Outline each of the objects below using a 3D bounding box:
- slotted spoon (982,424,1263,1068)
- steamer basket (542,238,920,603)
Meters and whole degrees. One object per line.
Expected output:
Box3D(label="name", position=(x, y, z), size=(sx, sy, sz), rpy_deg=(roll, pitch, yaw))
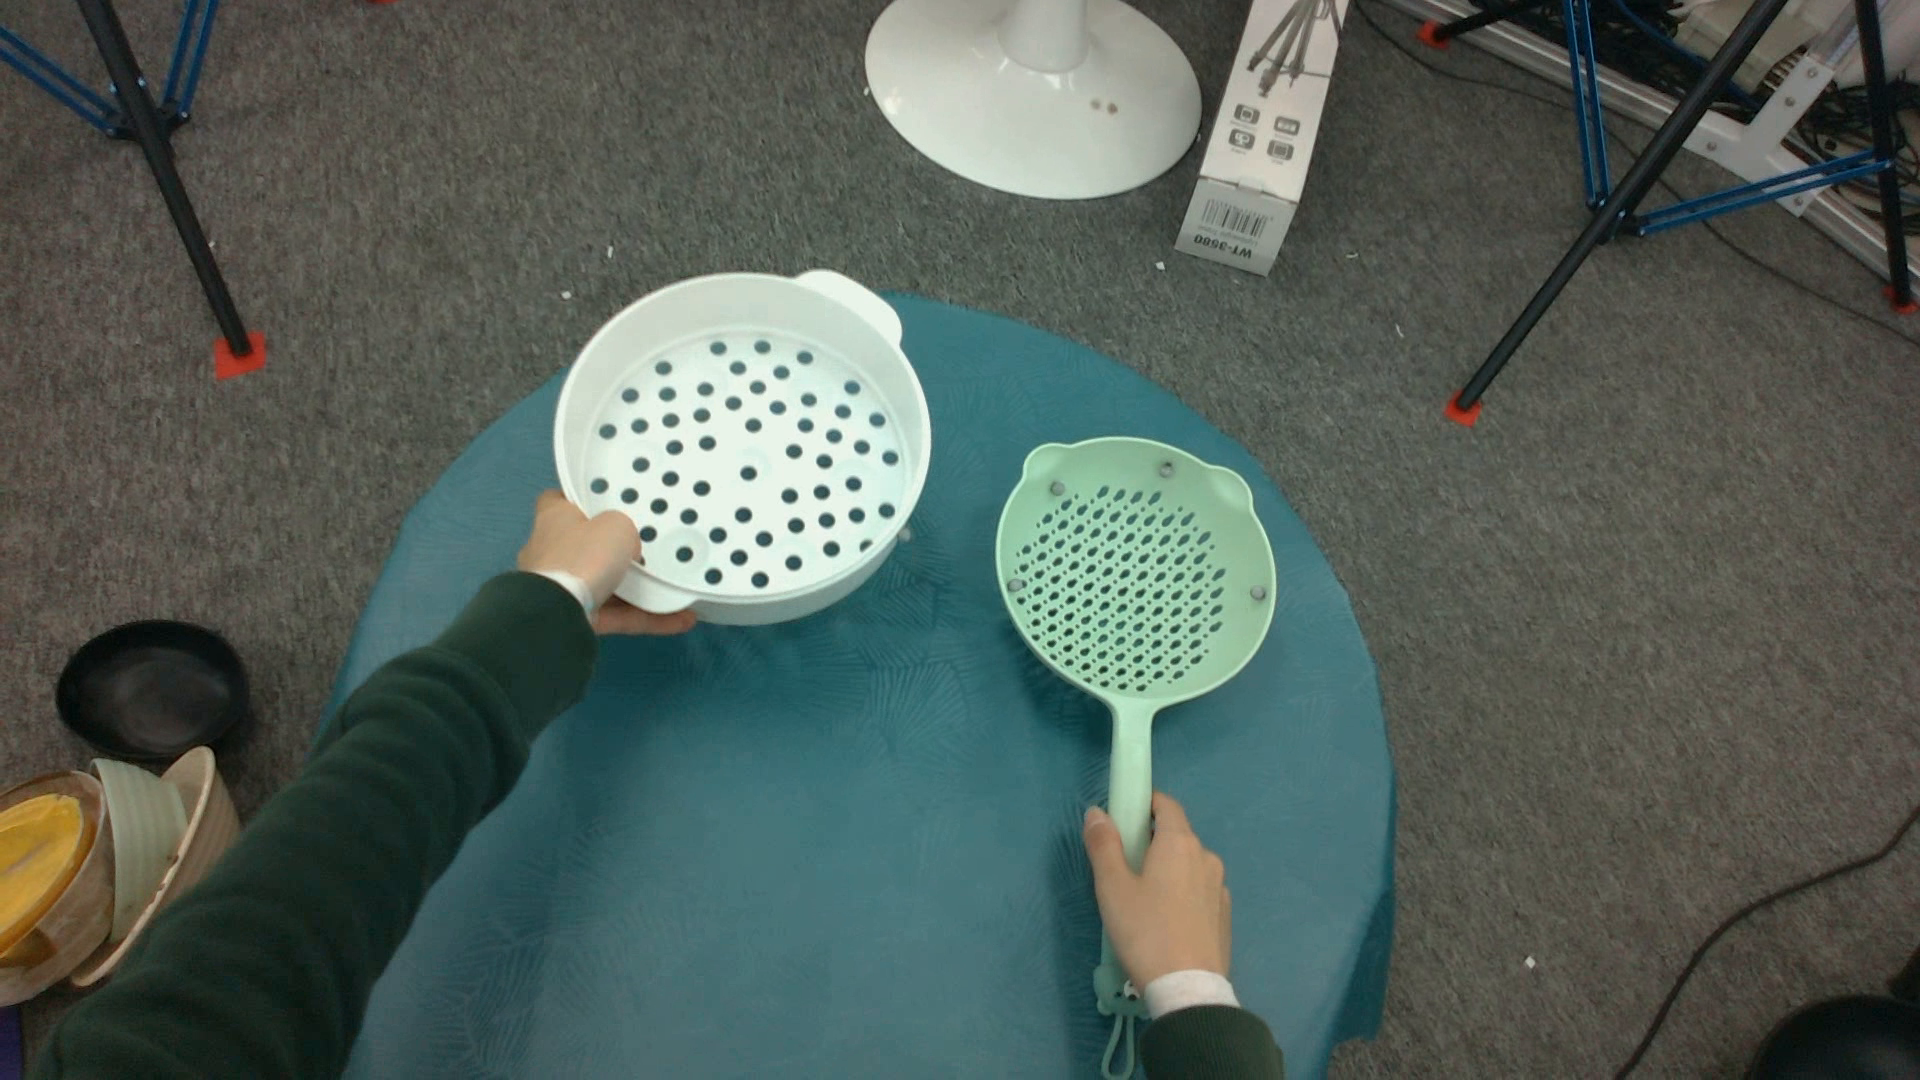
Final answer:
Box3D(label="slotted spoon", position=(0.087, 0.099, 0.768), size=(0.169, 0.075, 0.360), rpy_deg=(8, 56, -6))
Box3D(label="steamer basket", position=(-0.125, -0.063, 0.769), size=(0.202, 0.069, 0.231), rpy_deg=(30, 67, 5))
